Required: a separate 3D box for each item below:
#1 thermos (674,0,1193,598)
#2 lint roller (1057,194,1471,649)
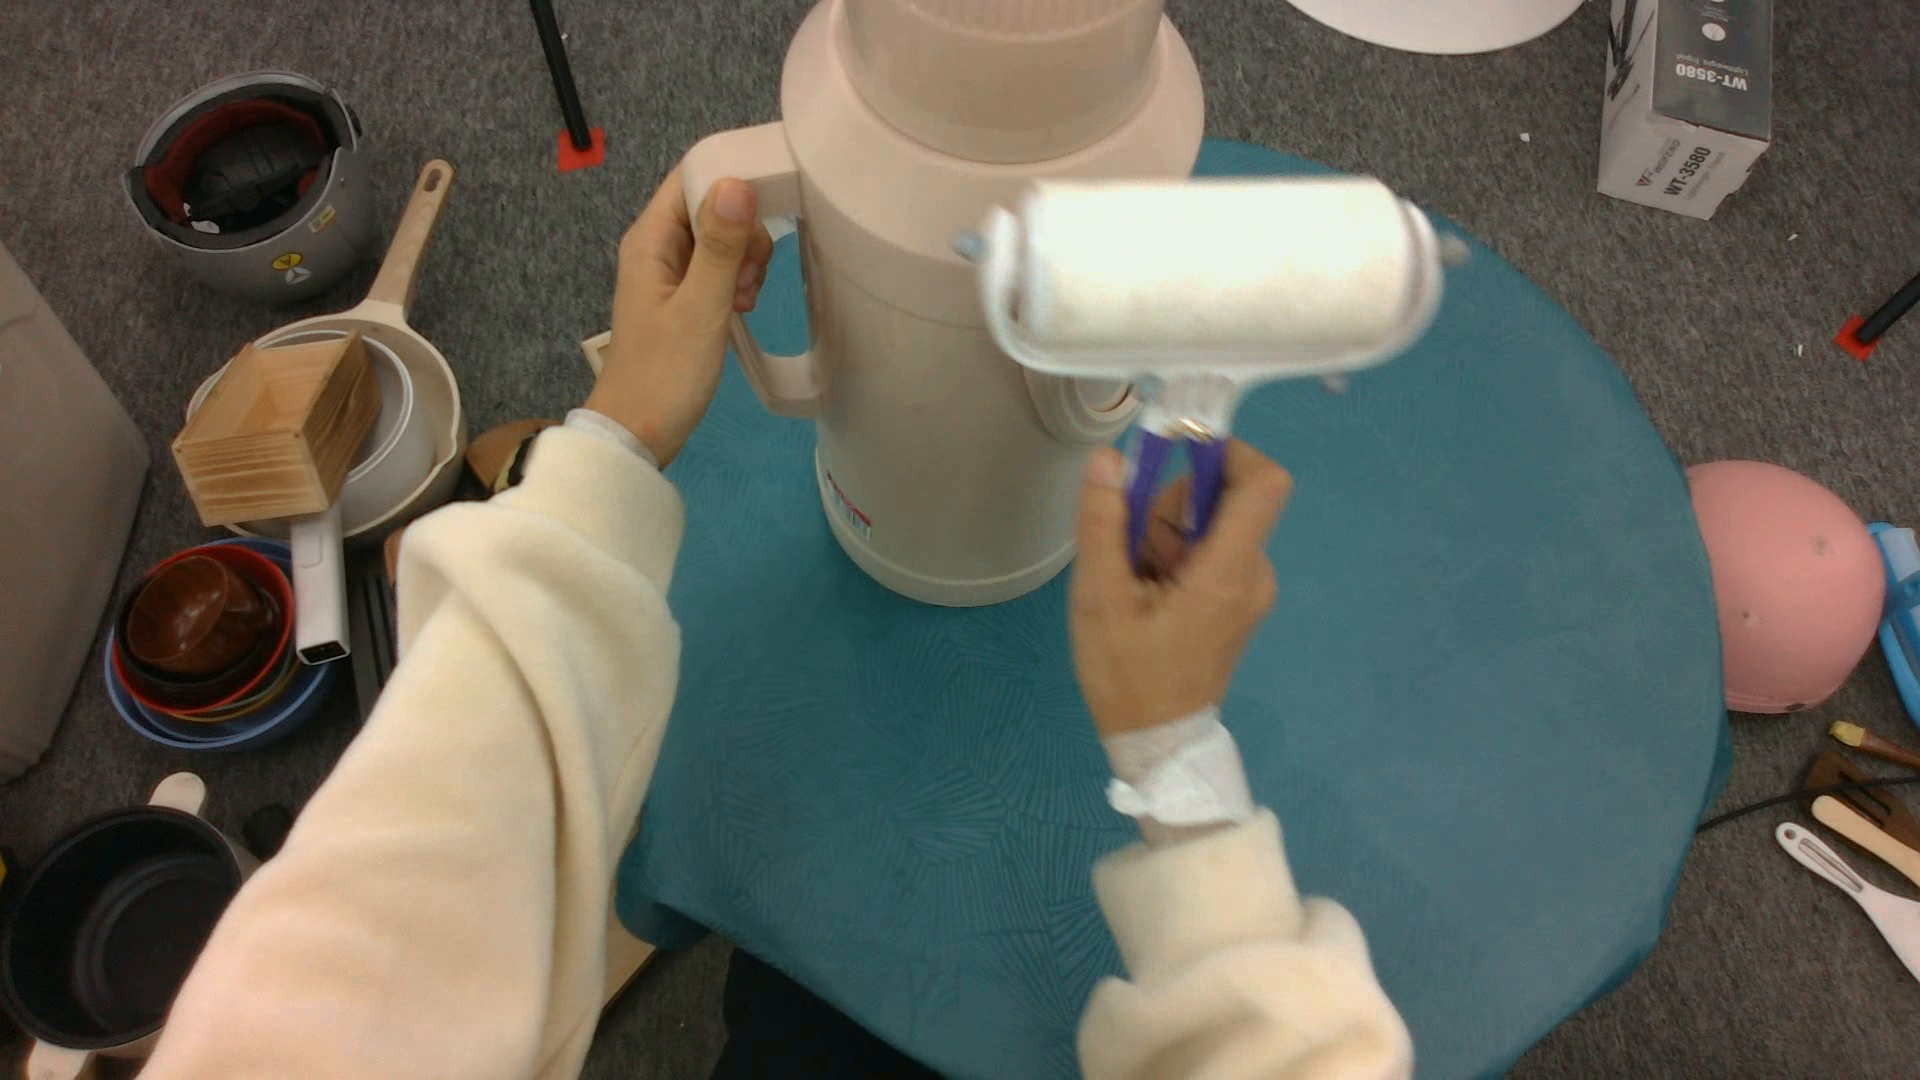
[{"bbox_3d":[-0.009,-0.123,0.595,0.207,0.404,0.176,-15,66,-10],"label":"thermos"},{"bbox_3d":[0.092,-0.029,0.476,0.133,0.180,0.050,3,28,-7],"label":"lint roller"}]
